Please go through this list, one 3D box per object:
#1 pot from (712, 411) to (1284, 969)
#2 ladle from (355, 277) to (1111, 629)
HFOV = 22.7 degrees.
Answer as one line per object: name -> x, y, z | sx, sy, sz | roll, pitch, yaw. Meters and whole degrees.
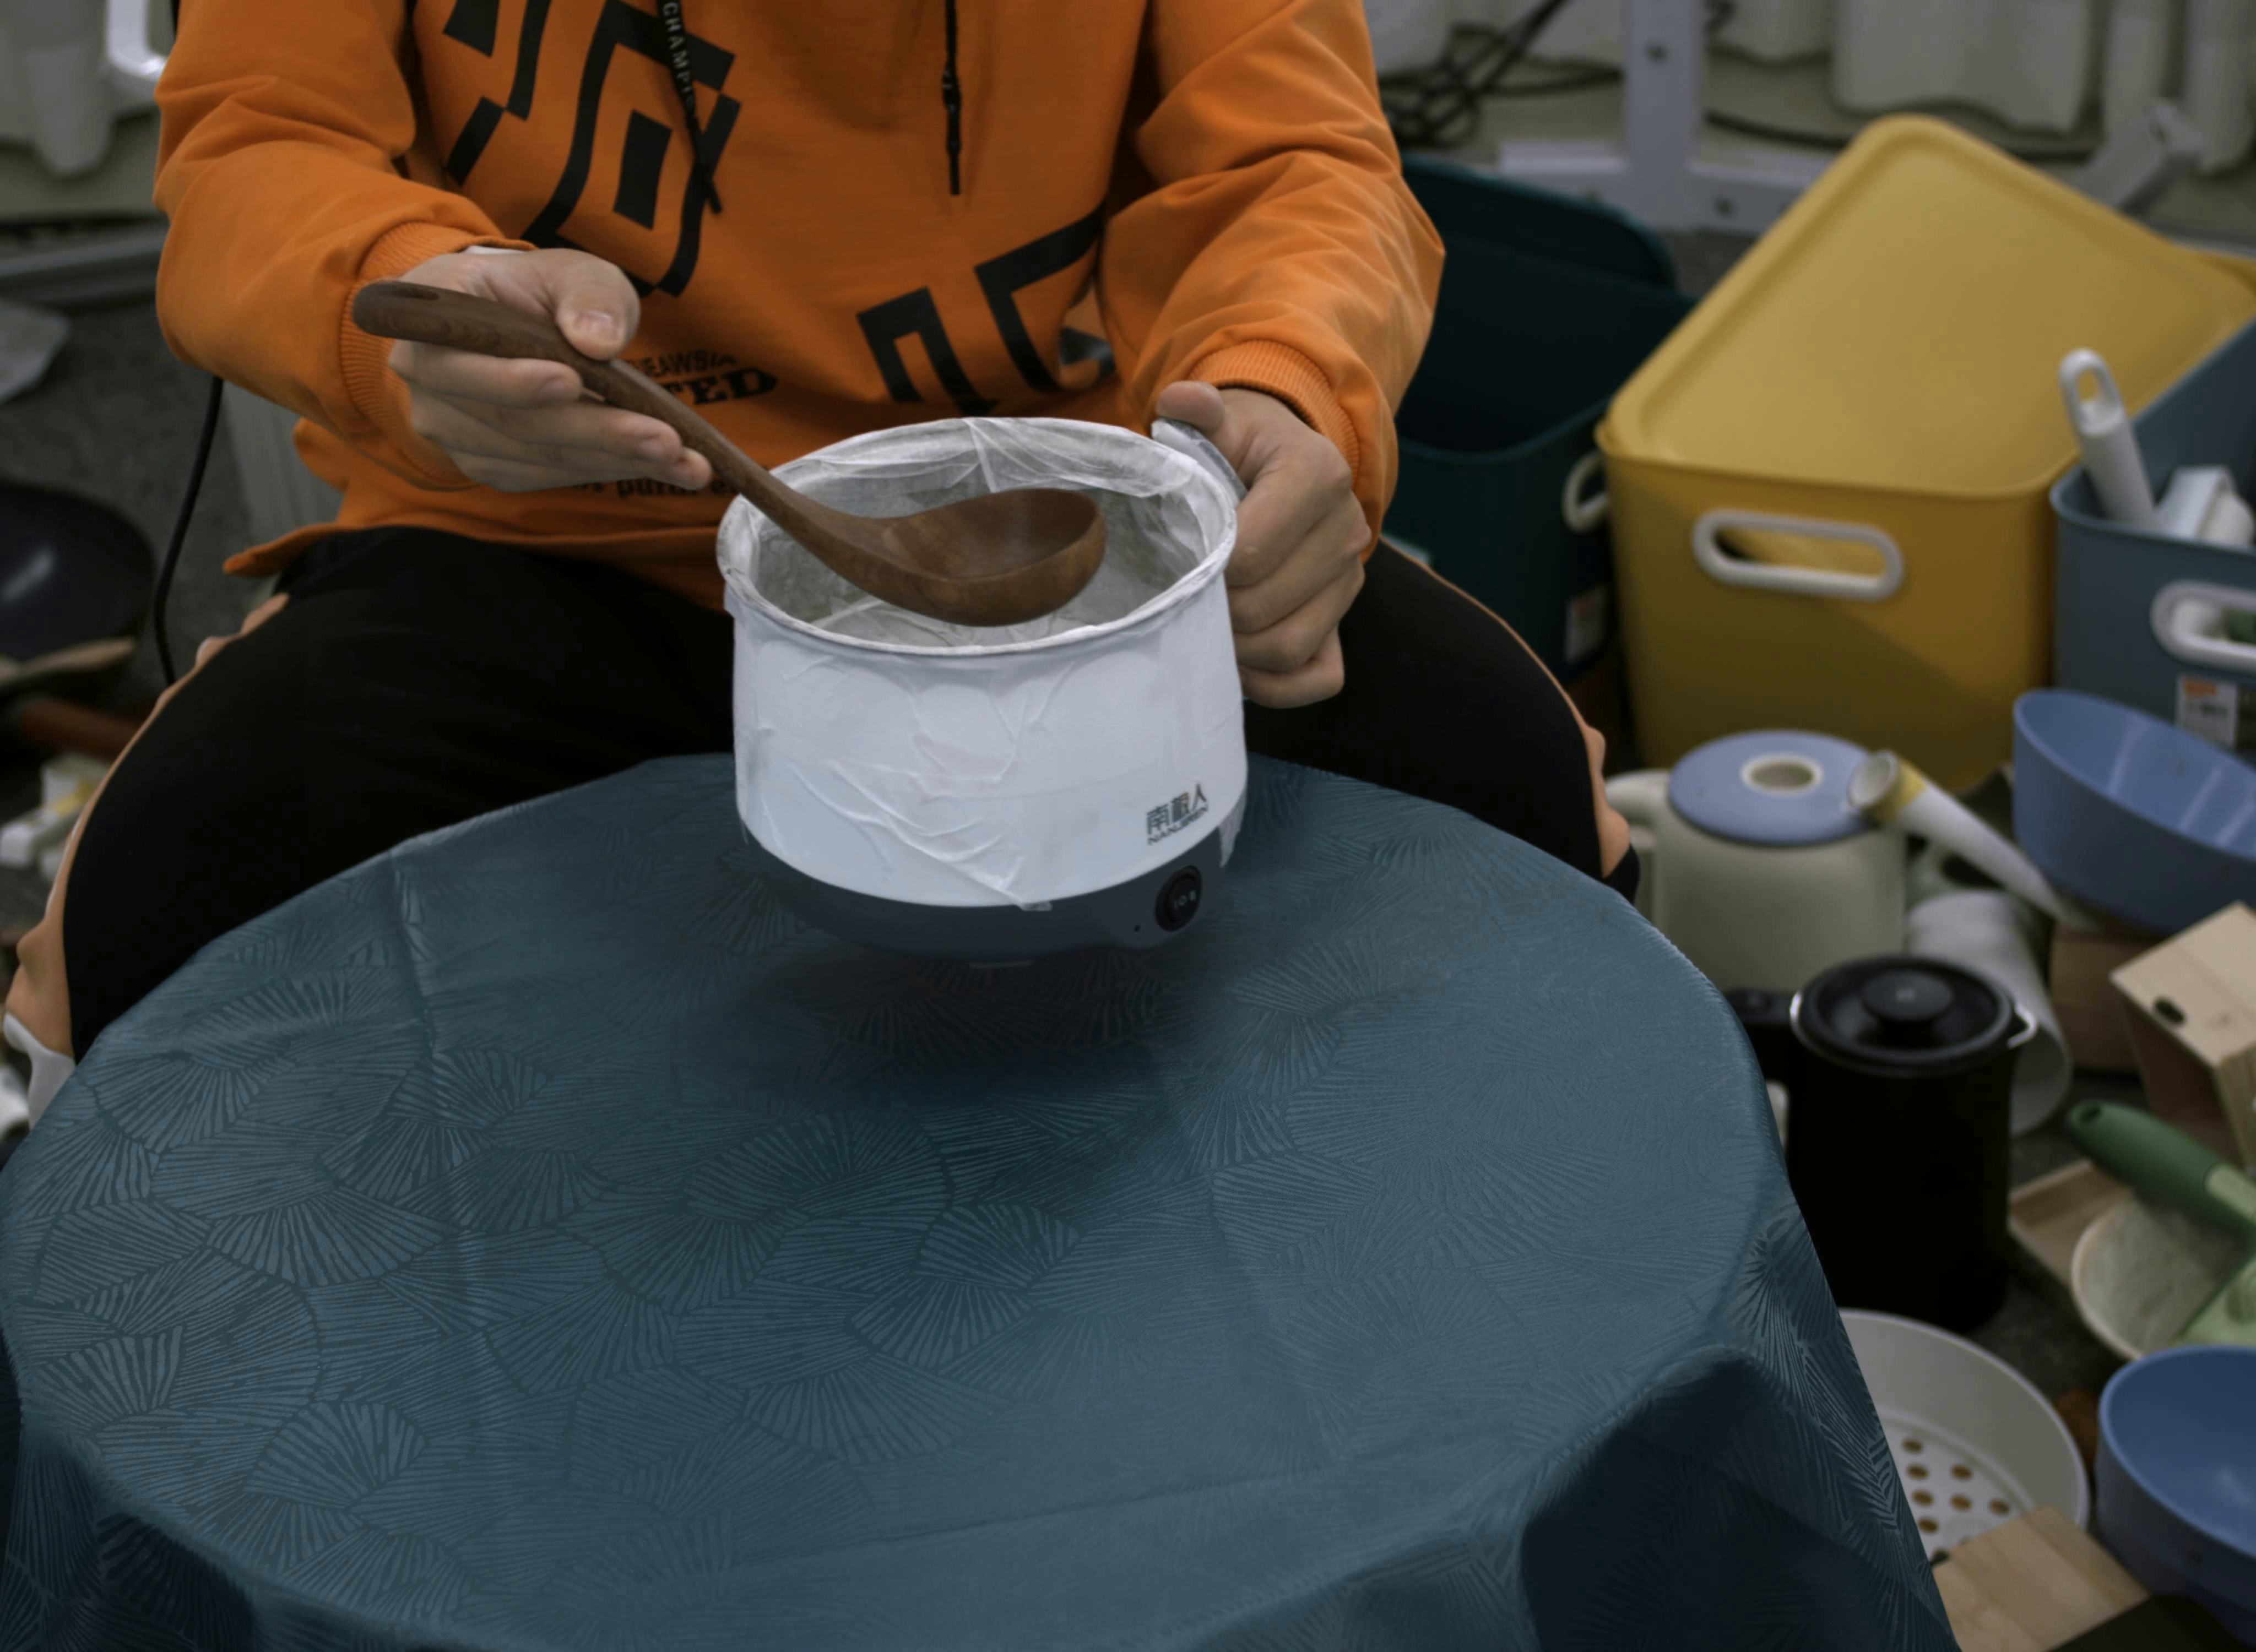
pot -> -0.032, -0.057, 1.946 | 0.178, 0.135, 0.237 | 21, 37, 35
ladle -> -0.126, -0.134, 1.850 | 0.259, 0.065, 0.077 | 28, 13, -14
